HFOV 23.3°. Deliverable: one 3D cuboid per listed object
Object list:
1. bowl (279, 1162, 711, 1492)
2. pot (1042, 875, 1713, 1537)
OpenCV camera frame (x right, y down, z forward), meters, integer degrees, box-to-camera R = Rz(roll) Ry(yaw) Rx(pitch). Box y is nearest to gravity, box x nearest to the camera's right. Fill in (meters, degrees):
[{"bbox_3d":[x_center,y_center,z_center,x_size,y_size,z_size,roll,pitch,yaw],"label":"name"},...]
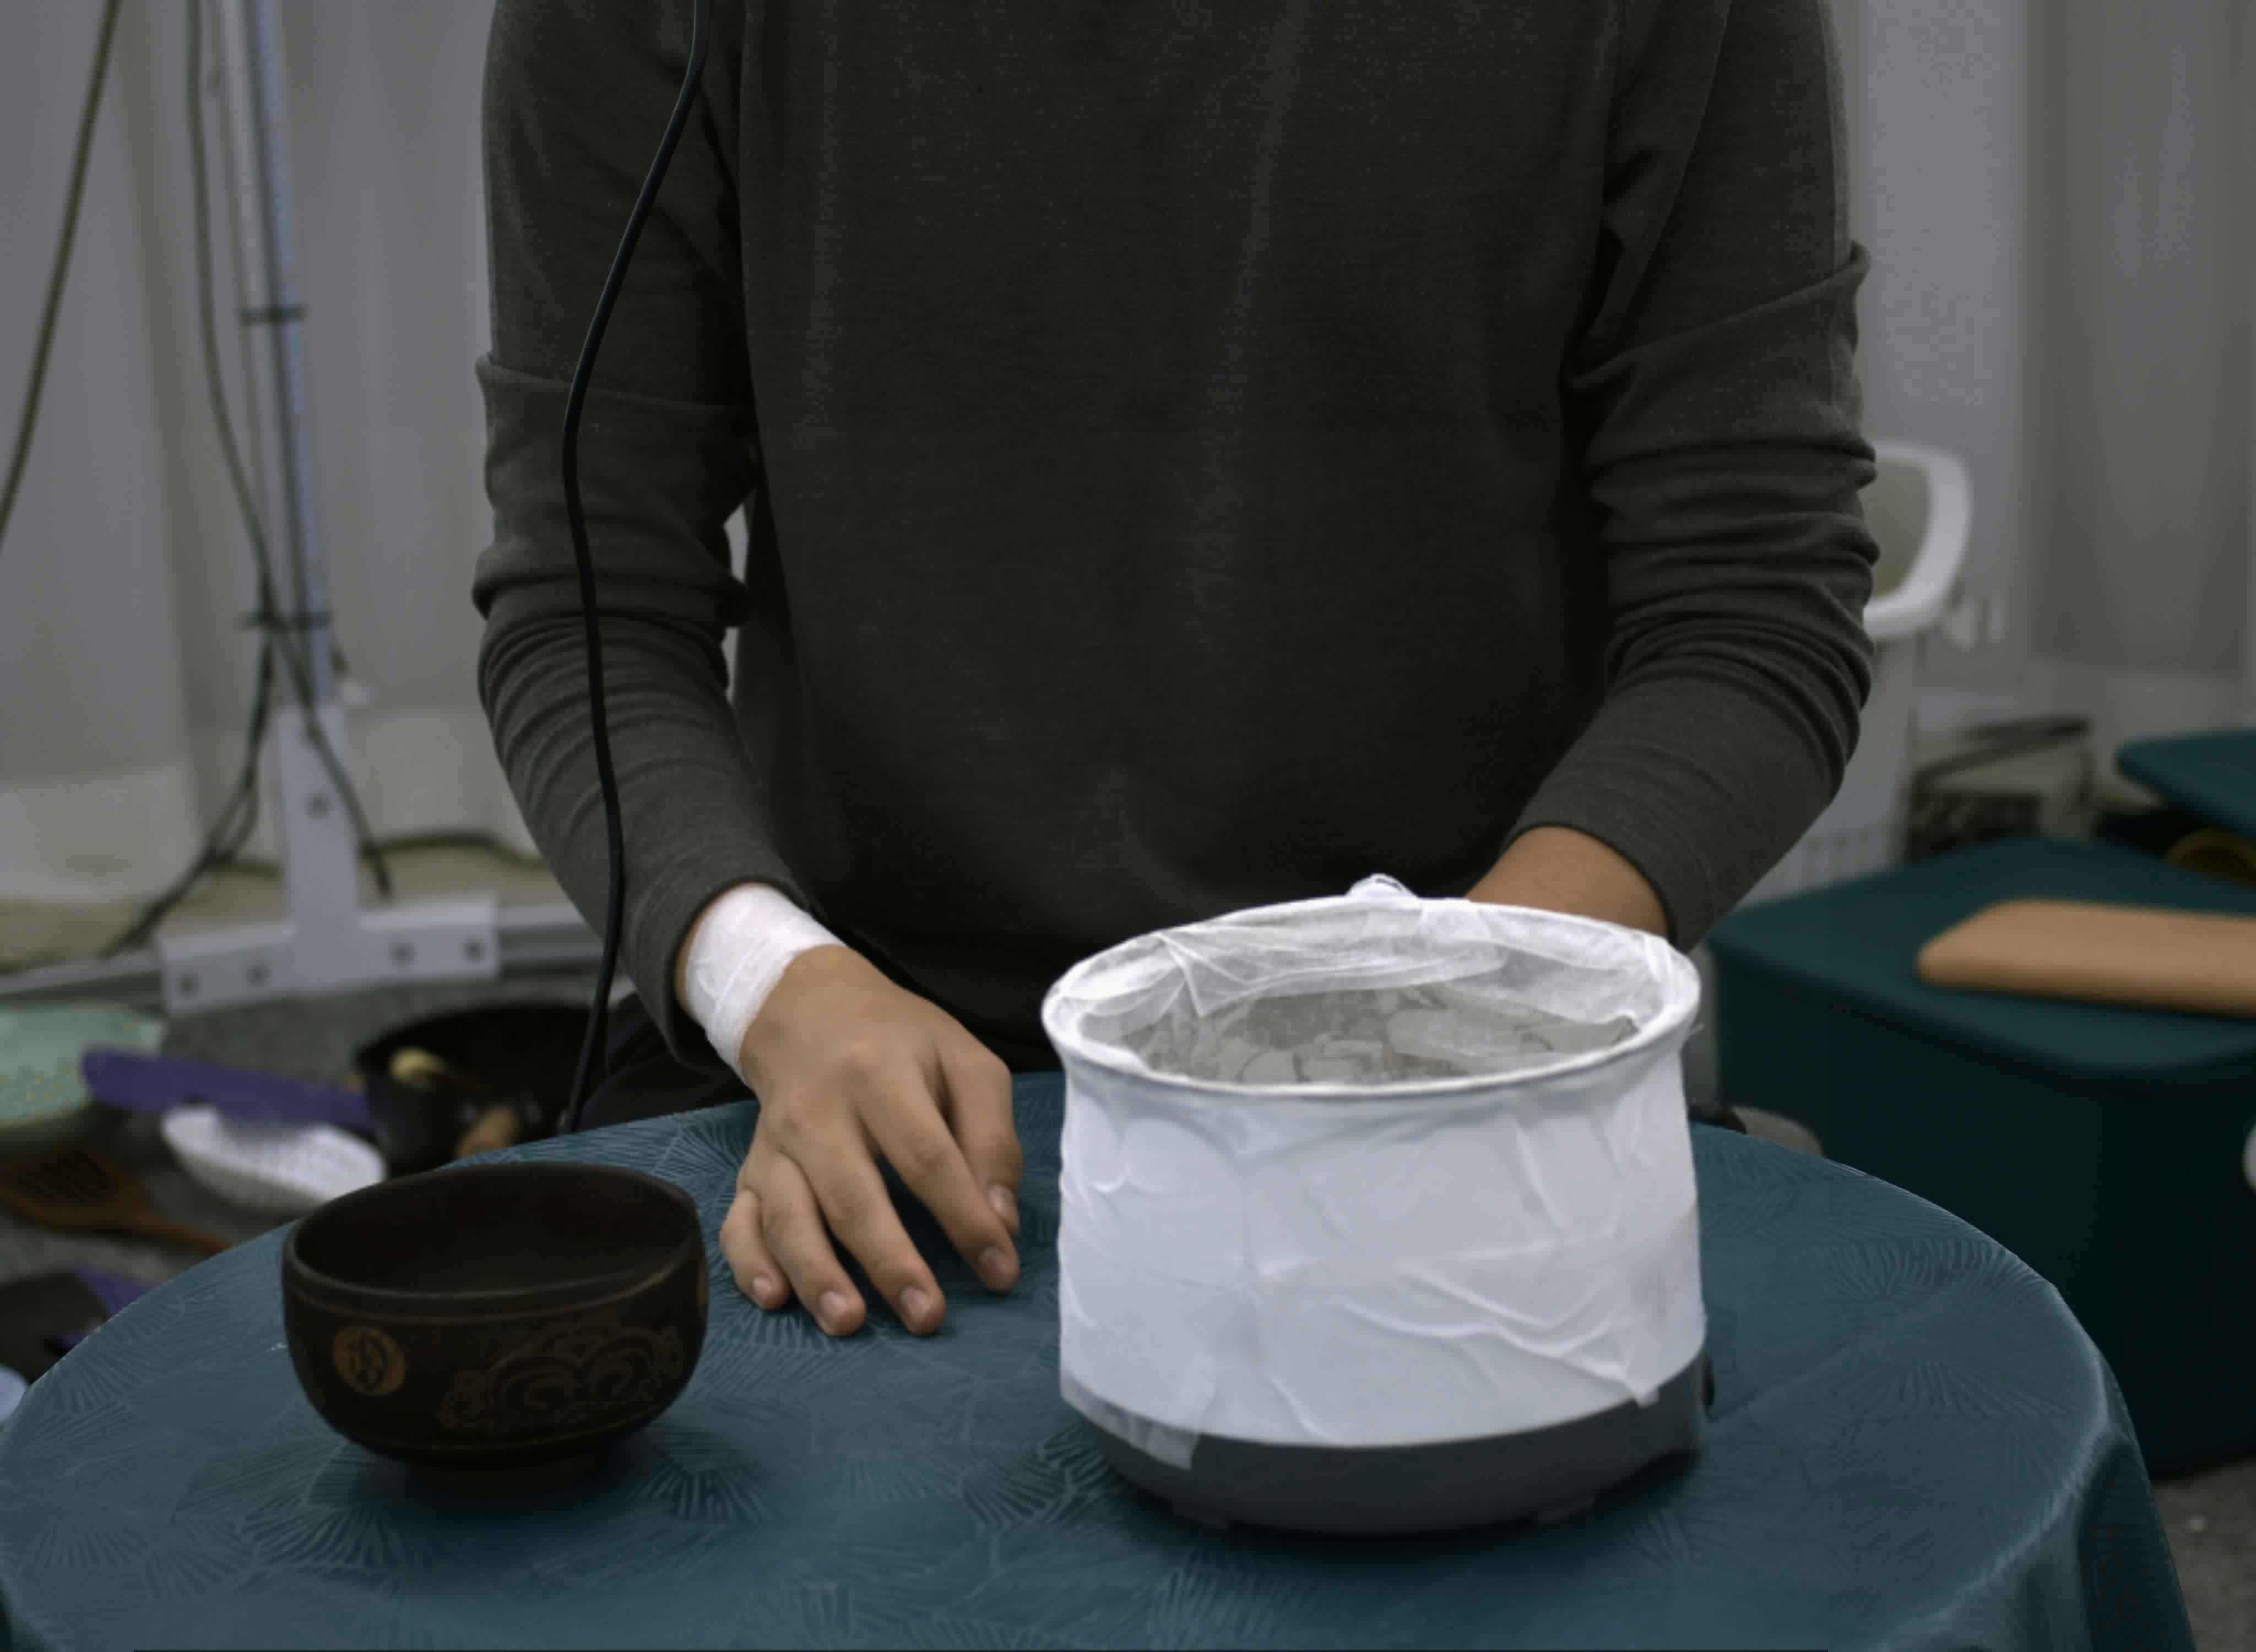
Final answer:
[{"bbox_3d":[-0.173,0.142,1.509,0.117,0.069,0.118,-3,12,0],"label":"bowl"},{"bbox_3d":[0.069,0.098,1.502,0.178,0.136,0.235,-1,14,3],"label":"pot"}]
